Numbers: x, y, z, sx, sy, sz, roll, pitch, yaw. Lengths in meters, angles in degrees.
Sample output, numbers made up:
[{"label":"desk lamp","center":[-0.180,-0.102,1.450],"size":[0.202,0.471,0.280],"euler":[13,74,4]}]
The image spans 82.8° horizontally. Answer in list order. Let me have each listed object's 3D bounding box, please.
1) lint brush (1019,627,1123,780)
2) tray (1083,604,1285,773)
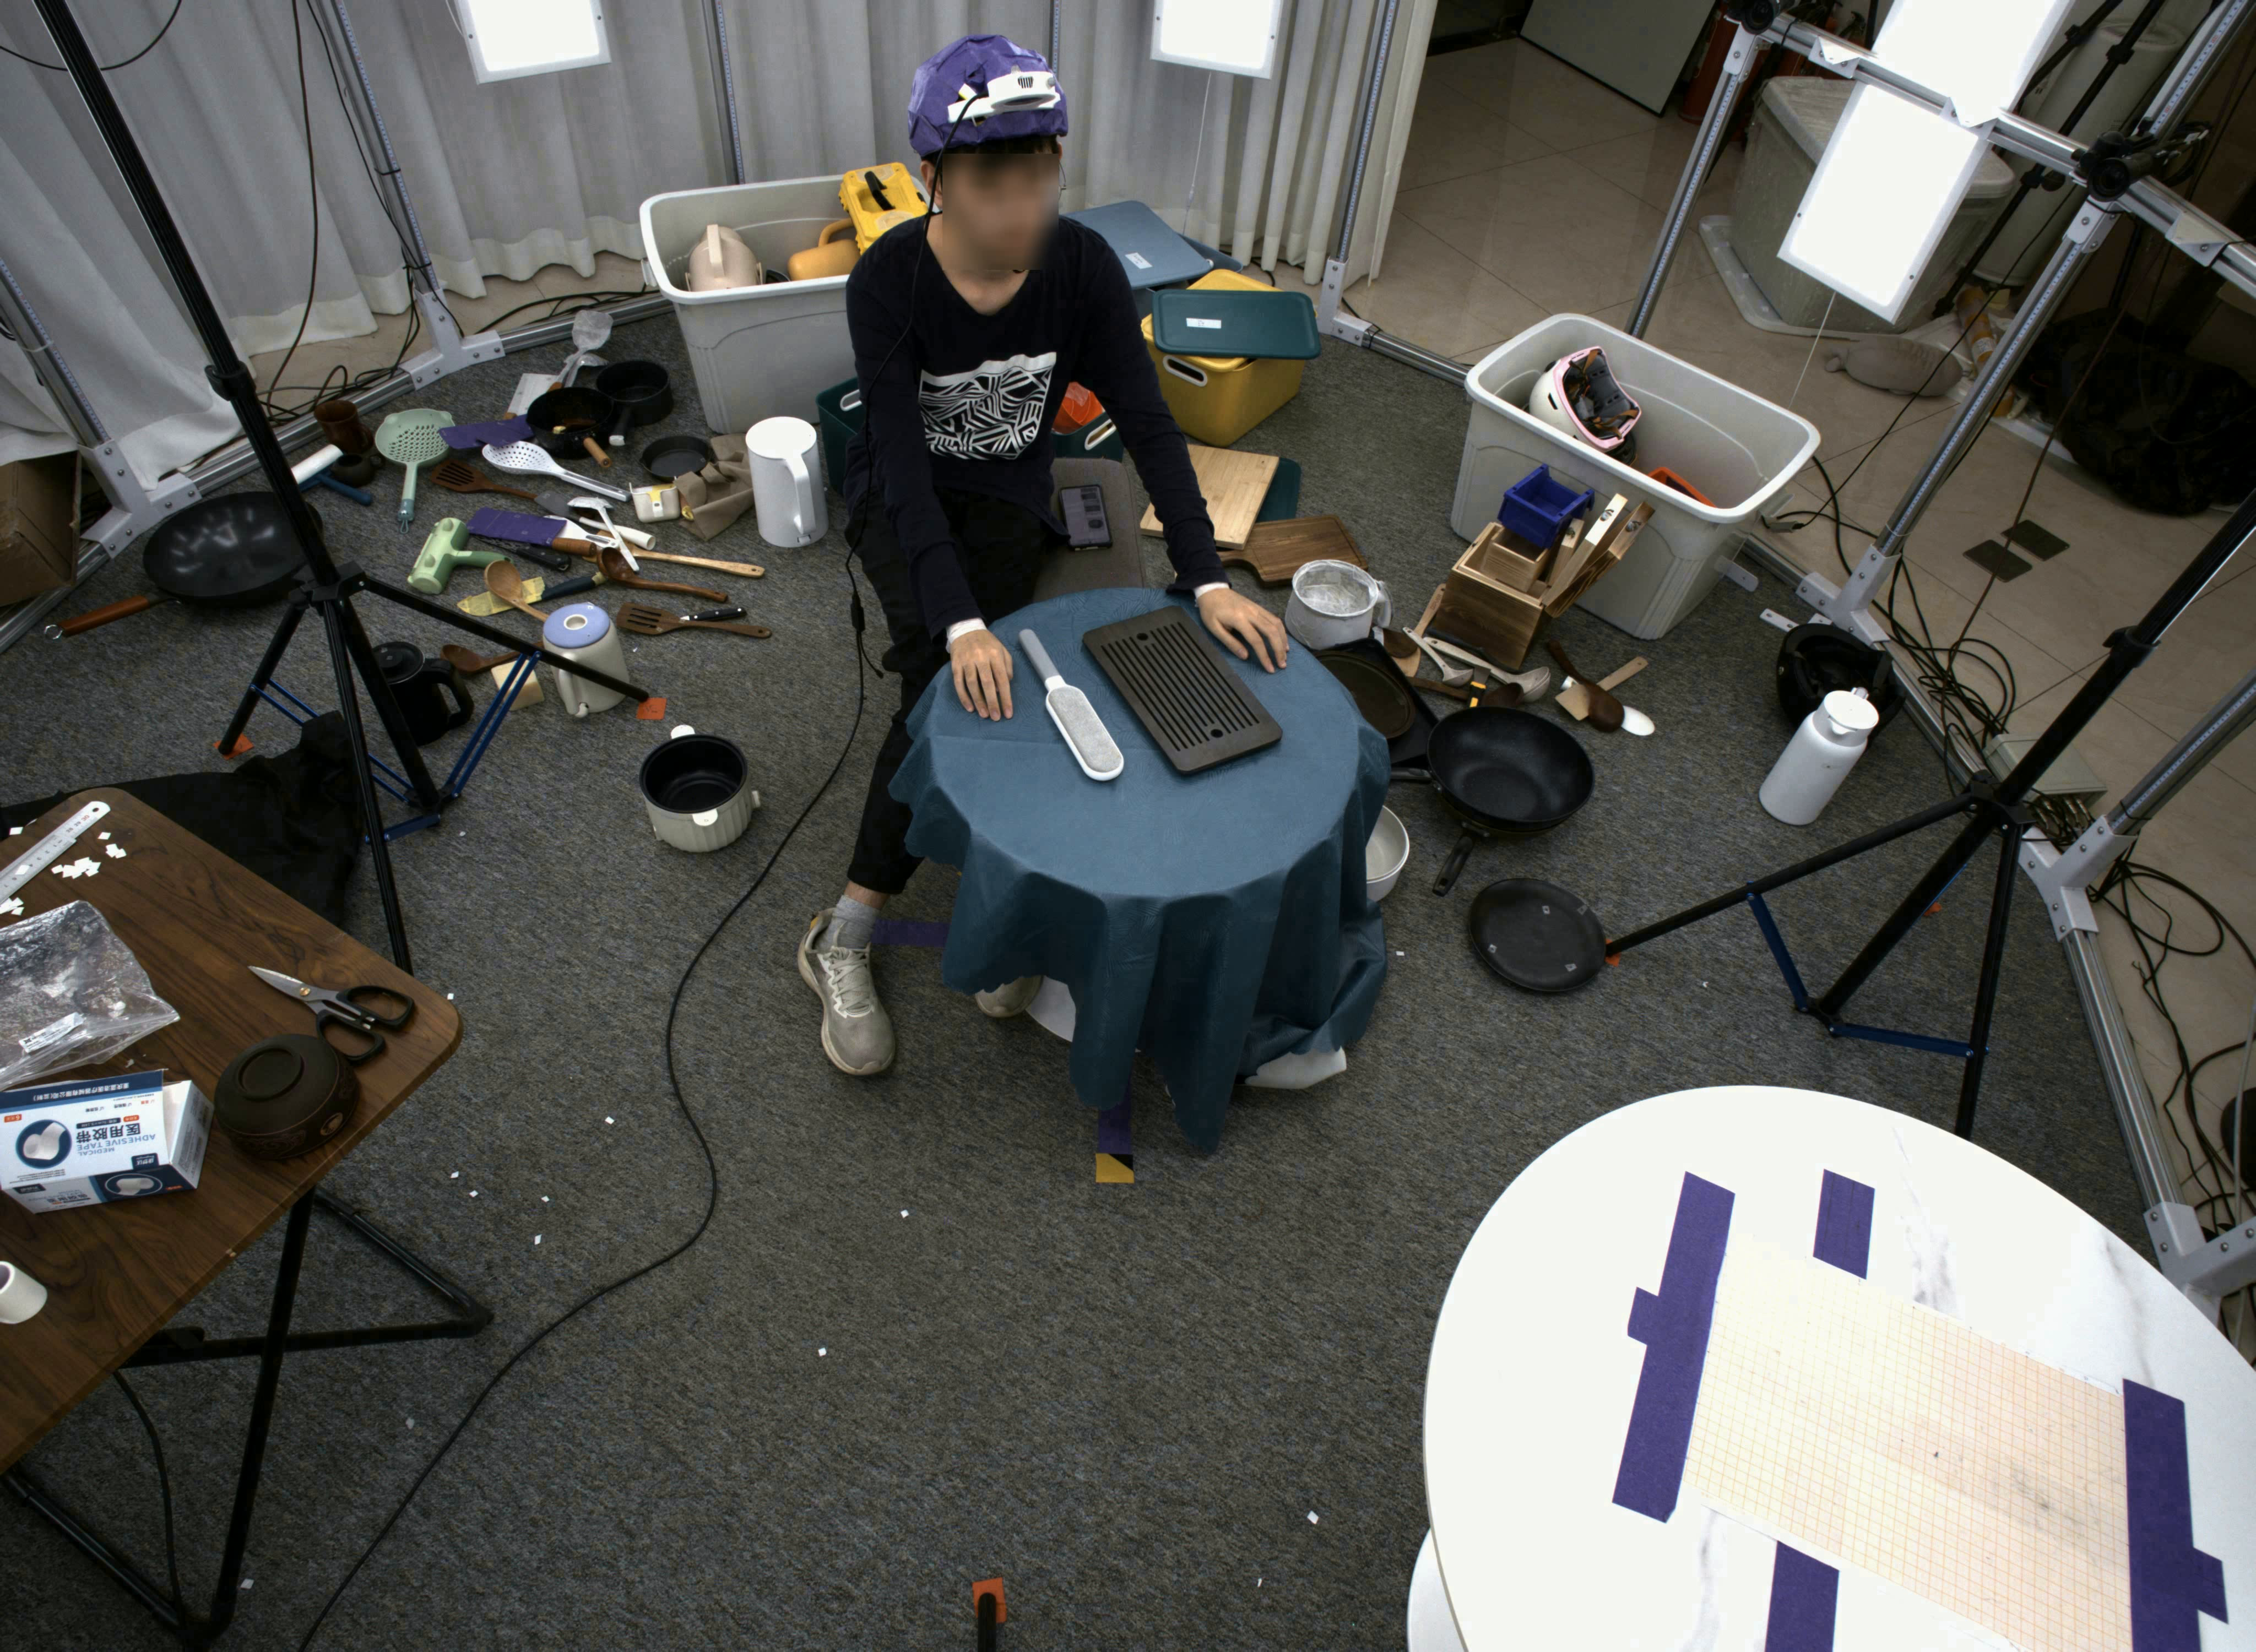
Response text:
[{"label":"lint brush","center":[-0.086,-0.178,1.798],"size":[0.060,0.020,0.316],"euler":[-20,53,-14]},{"label":"tray","center":[0.076,-0.201,1.836],"size":[0.170,0.018,0.312],"euler":[-20,53,-20]}]
